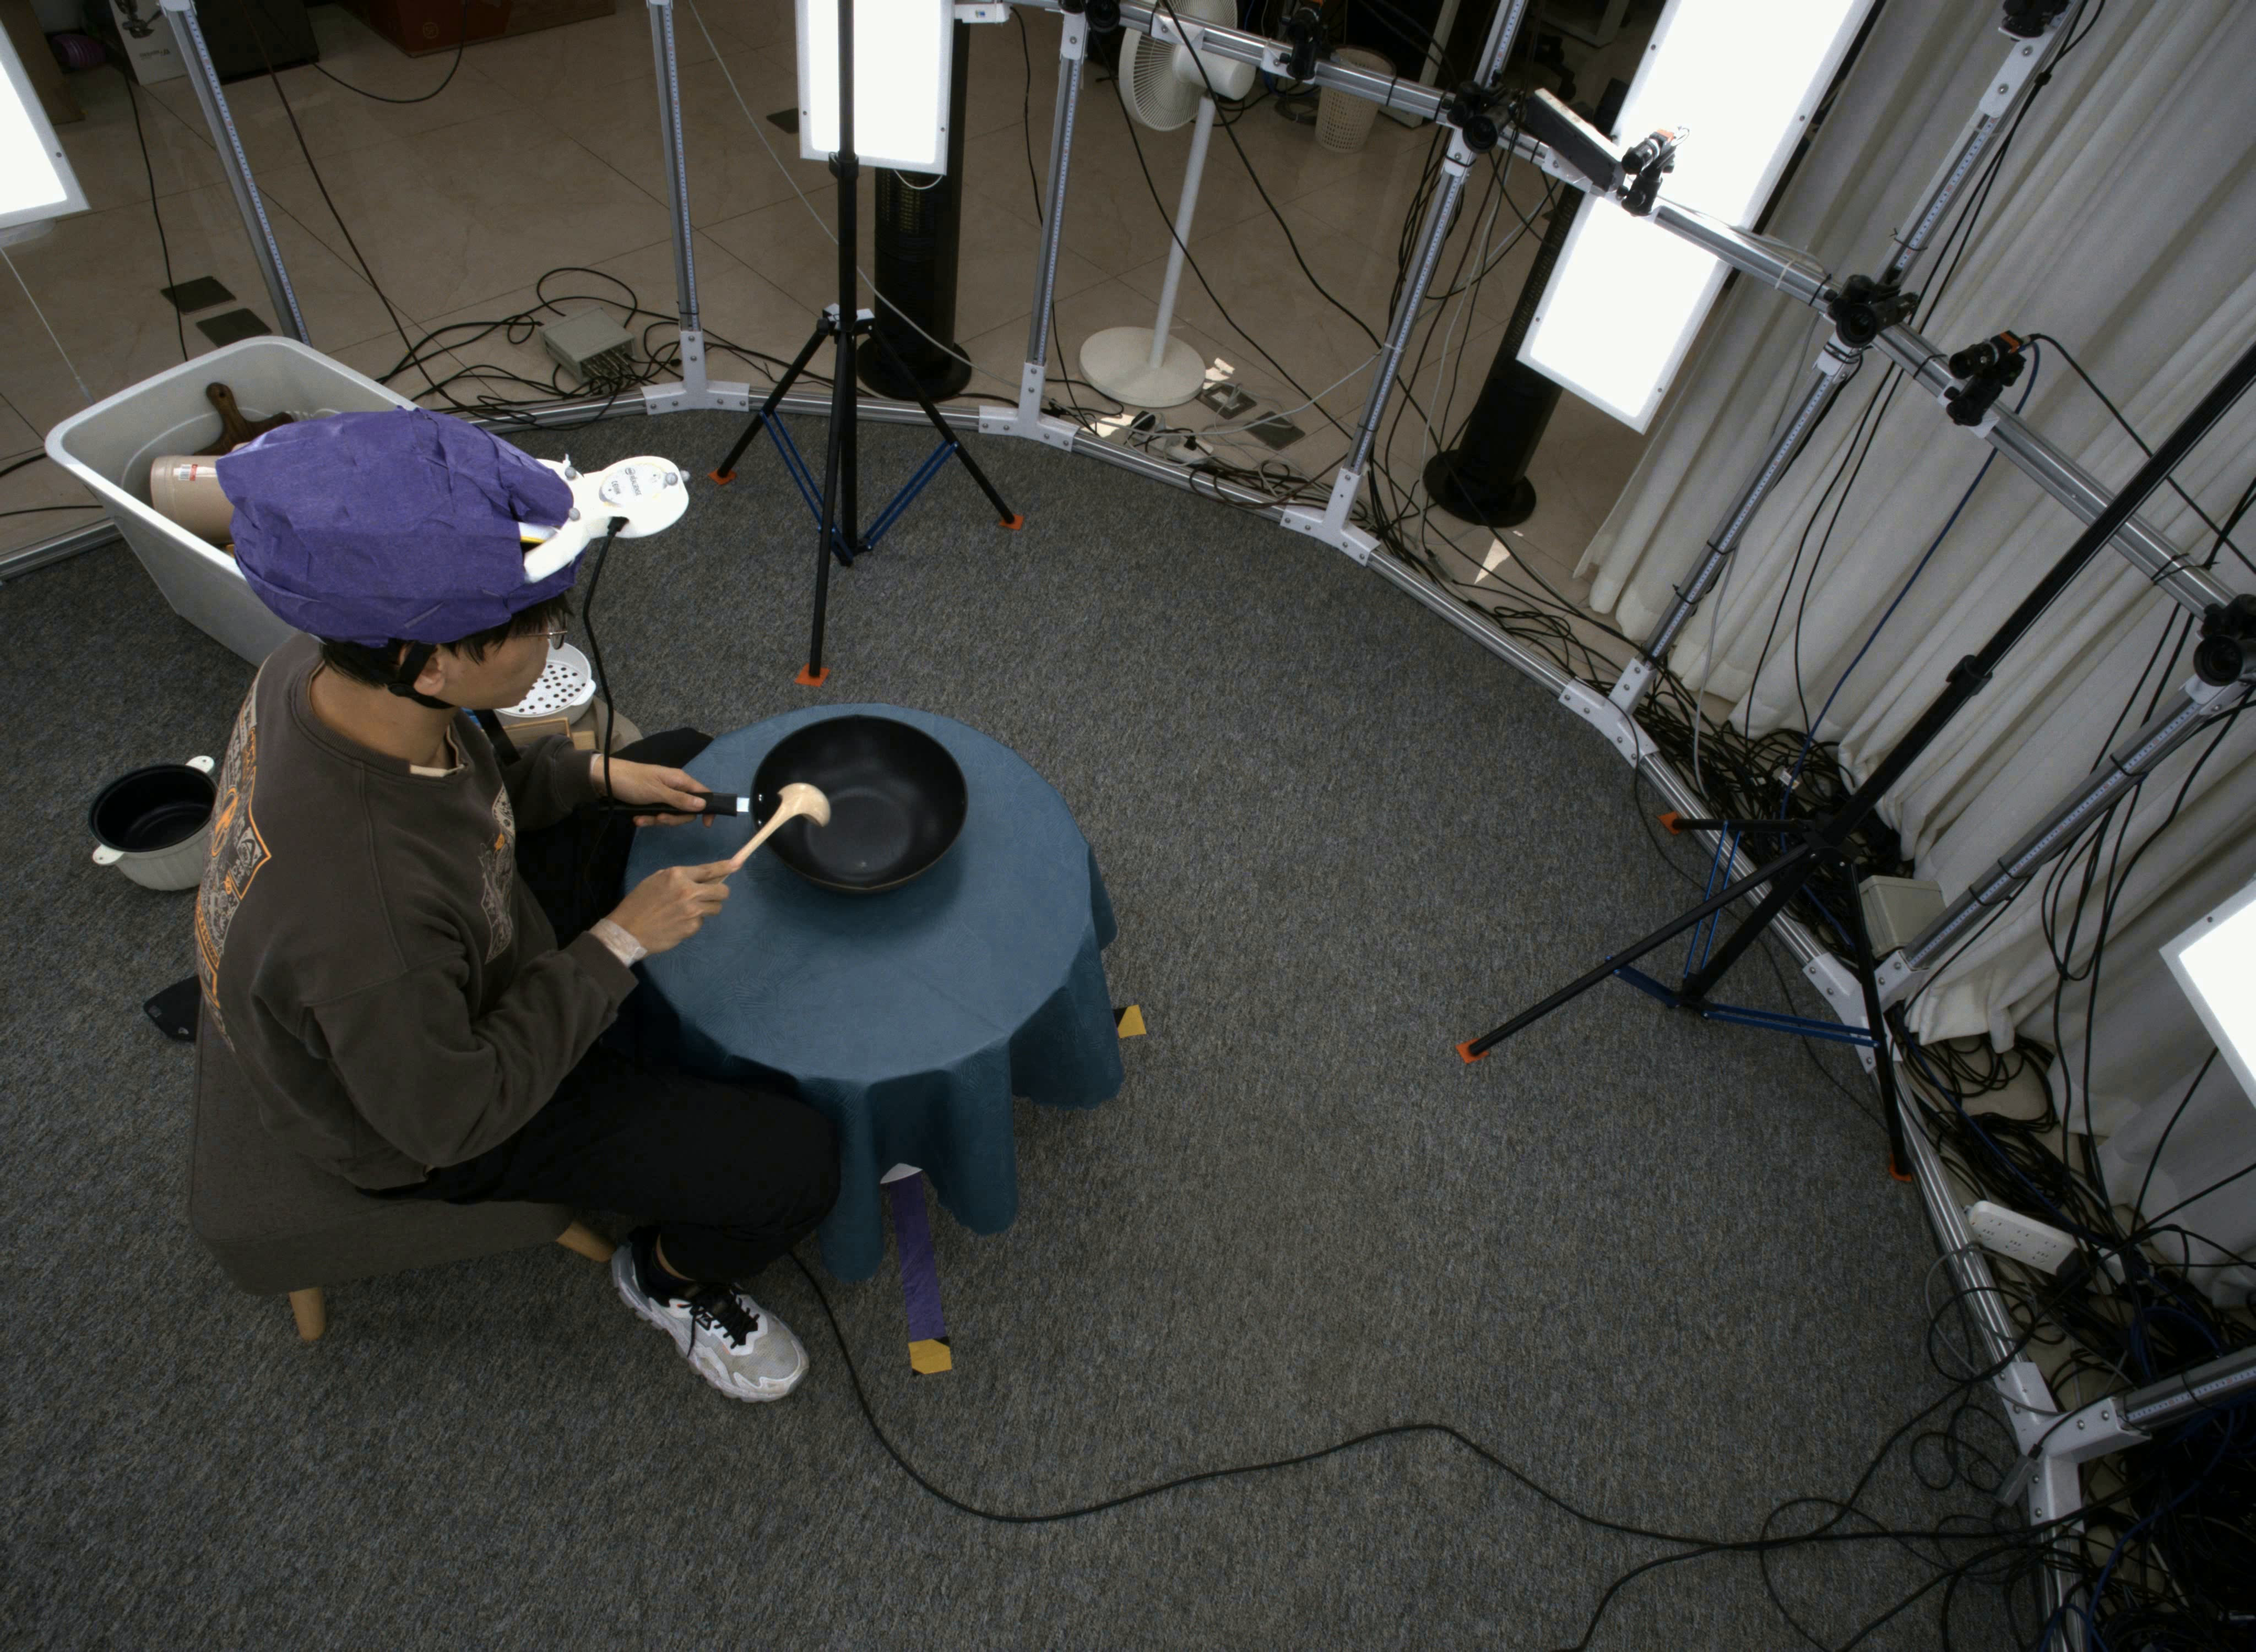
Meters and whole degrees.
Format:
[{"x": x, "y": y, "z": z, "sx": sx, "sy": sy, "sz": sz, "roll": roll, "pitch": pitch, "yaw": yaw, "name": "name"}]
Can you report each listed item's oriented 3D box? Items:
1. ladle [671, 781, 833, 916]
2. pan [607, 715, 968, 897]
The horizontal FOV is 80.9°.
[{"x": -0.452, "y": 0.038, "z": 1.545, "sx": 0.071, "sy": 0.073, "sz": 0.254, "roll": 37, "pitch": 54, "yaw": 6, "name": "ladle"}, {"x": -0.439, "y": -0.010, "z": 1.690, "sx": 0.463, "sy": 0.089, "sz": 0.282, "roll": -2, "pitch": 55, "yaw": -13, "name": "pan"}]
